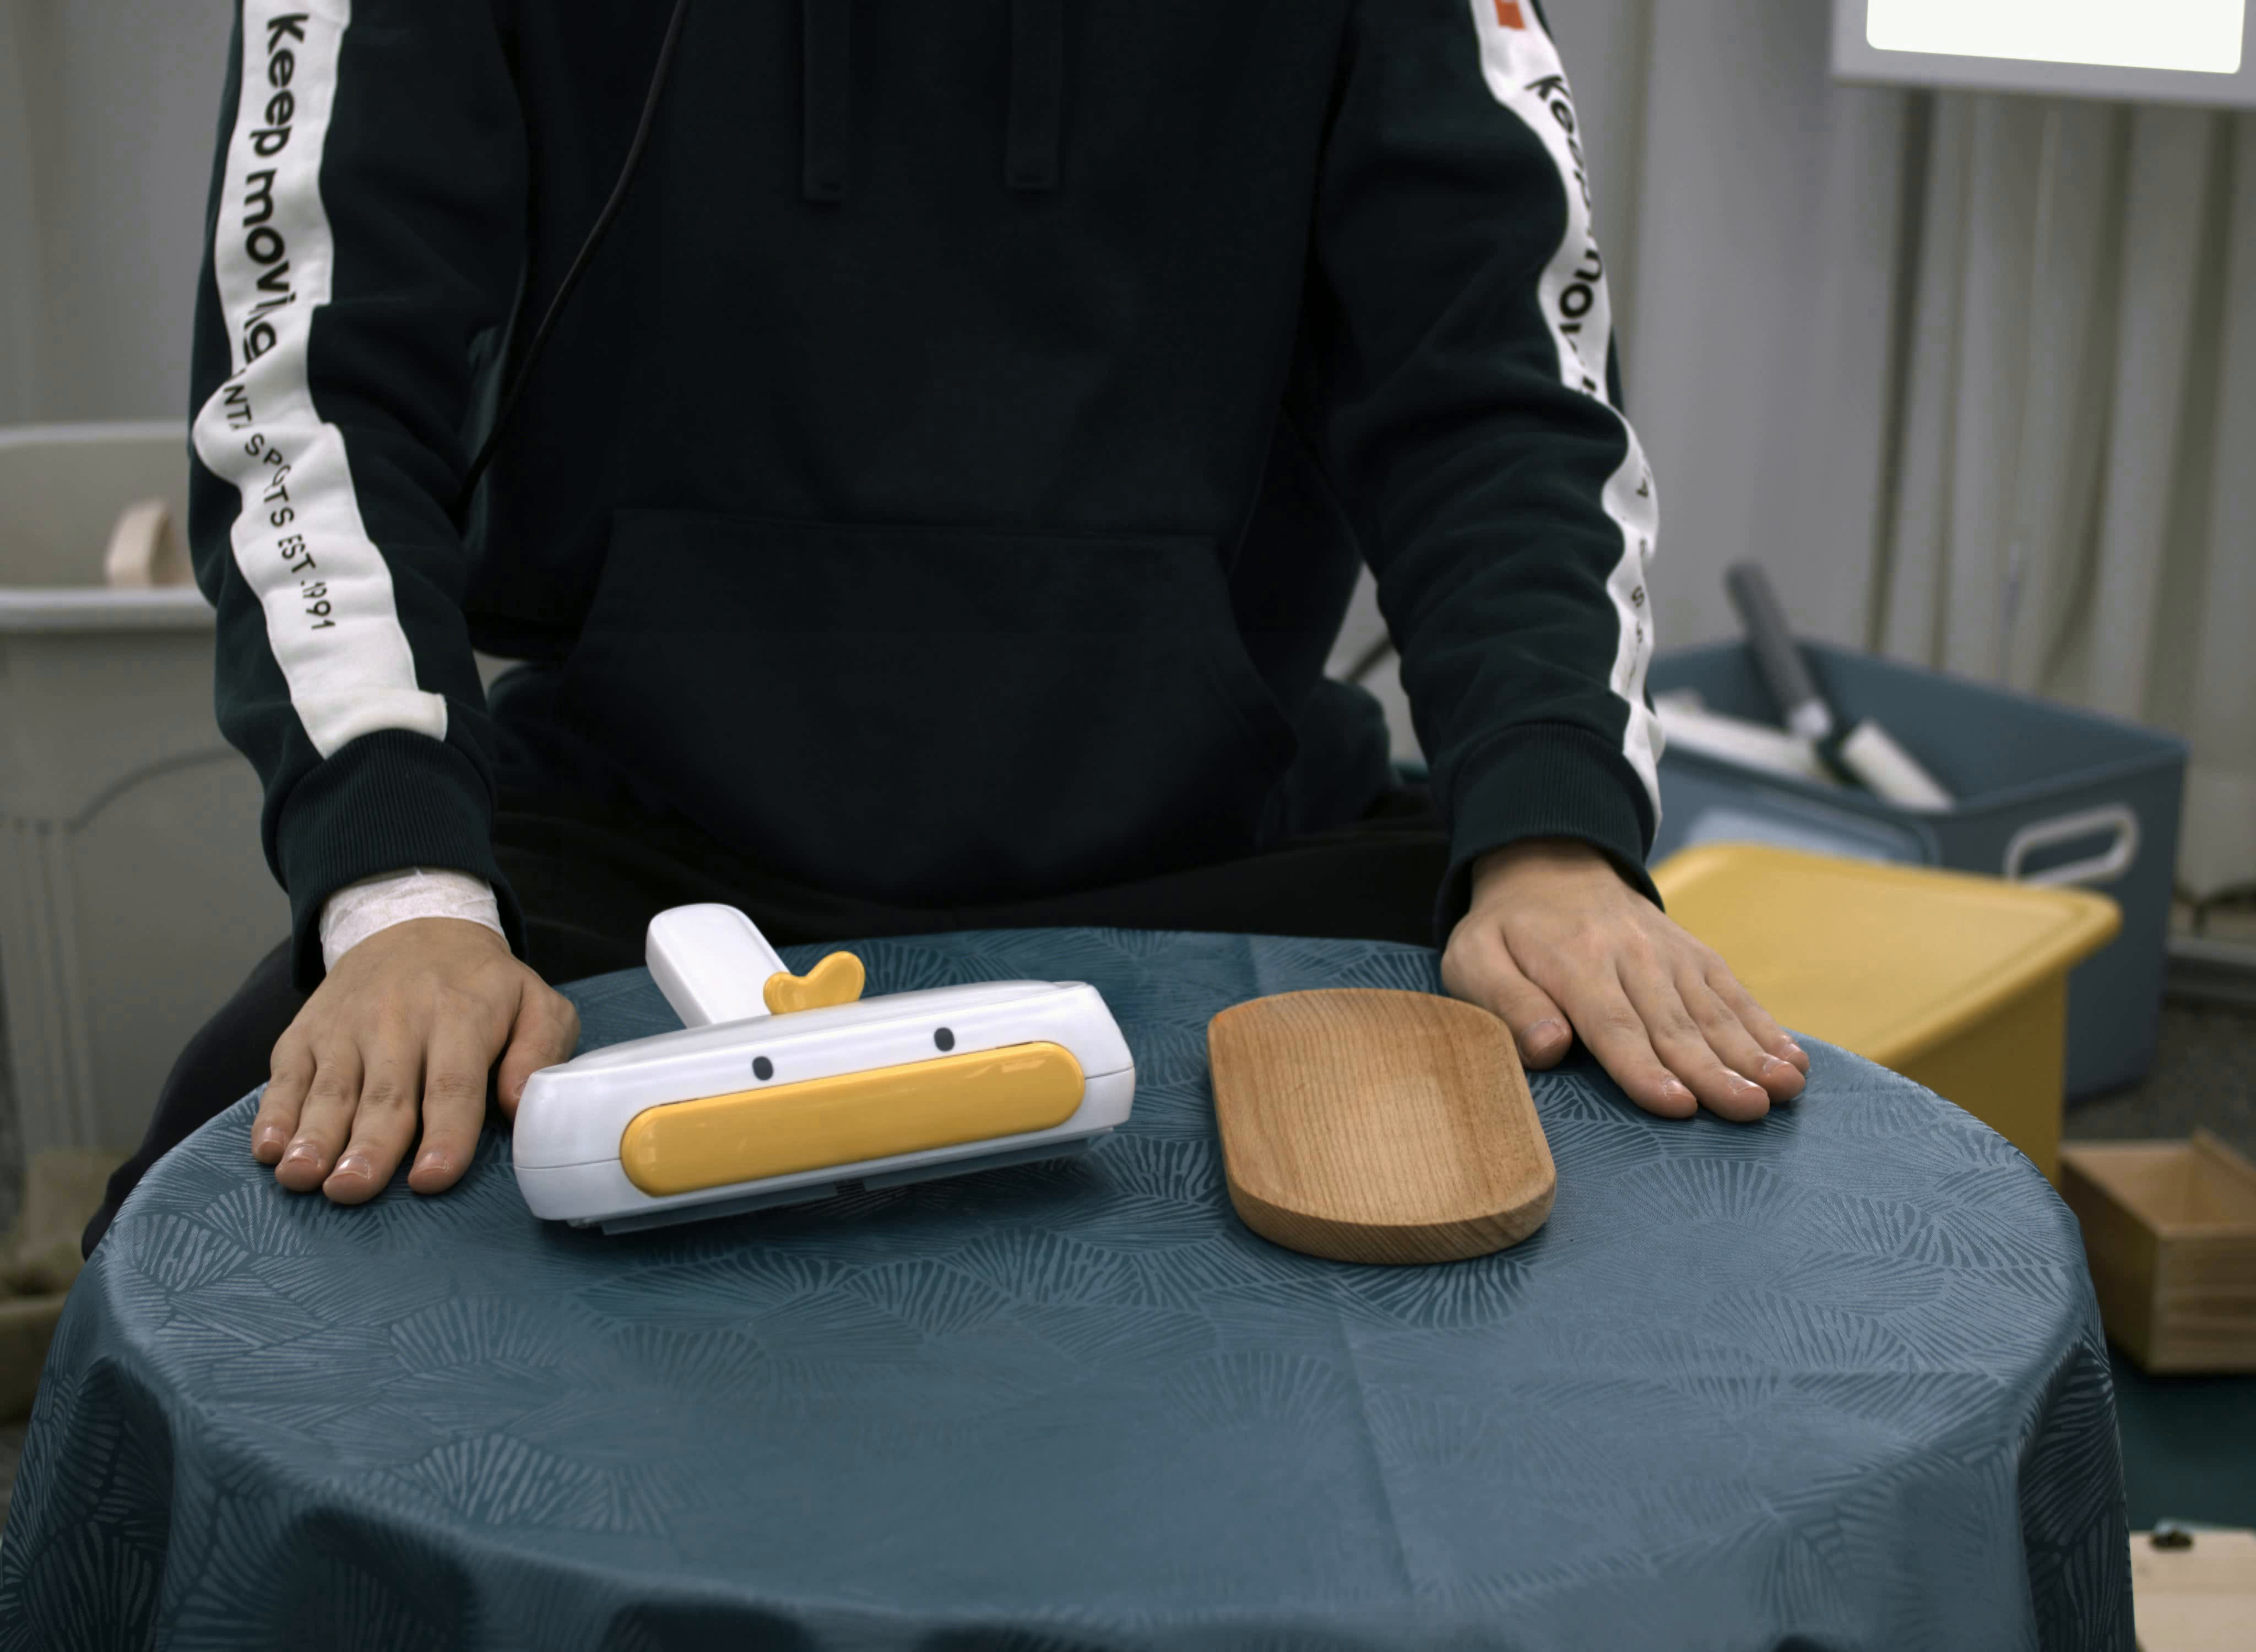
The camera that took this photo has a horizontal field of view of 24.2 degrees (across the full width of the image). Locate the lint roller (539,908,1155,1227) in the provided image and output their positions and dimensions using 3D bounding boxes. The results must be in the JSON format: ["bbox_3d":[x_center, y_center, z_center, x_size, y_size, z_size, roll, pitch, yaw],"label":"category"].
[{"bbox_3d":[-0.109,0.067,1.653,0.193,0.075,0.190,-14,13,-21],"label":"lint roller"}]

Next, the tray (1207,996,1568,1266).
[{"bbox_3d":[0.079,0.094,1.659,0.101,0.020,0.229,-1,17,-3],"label":"tray"}]
